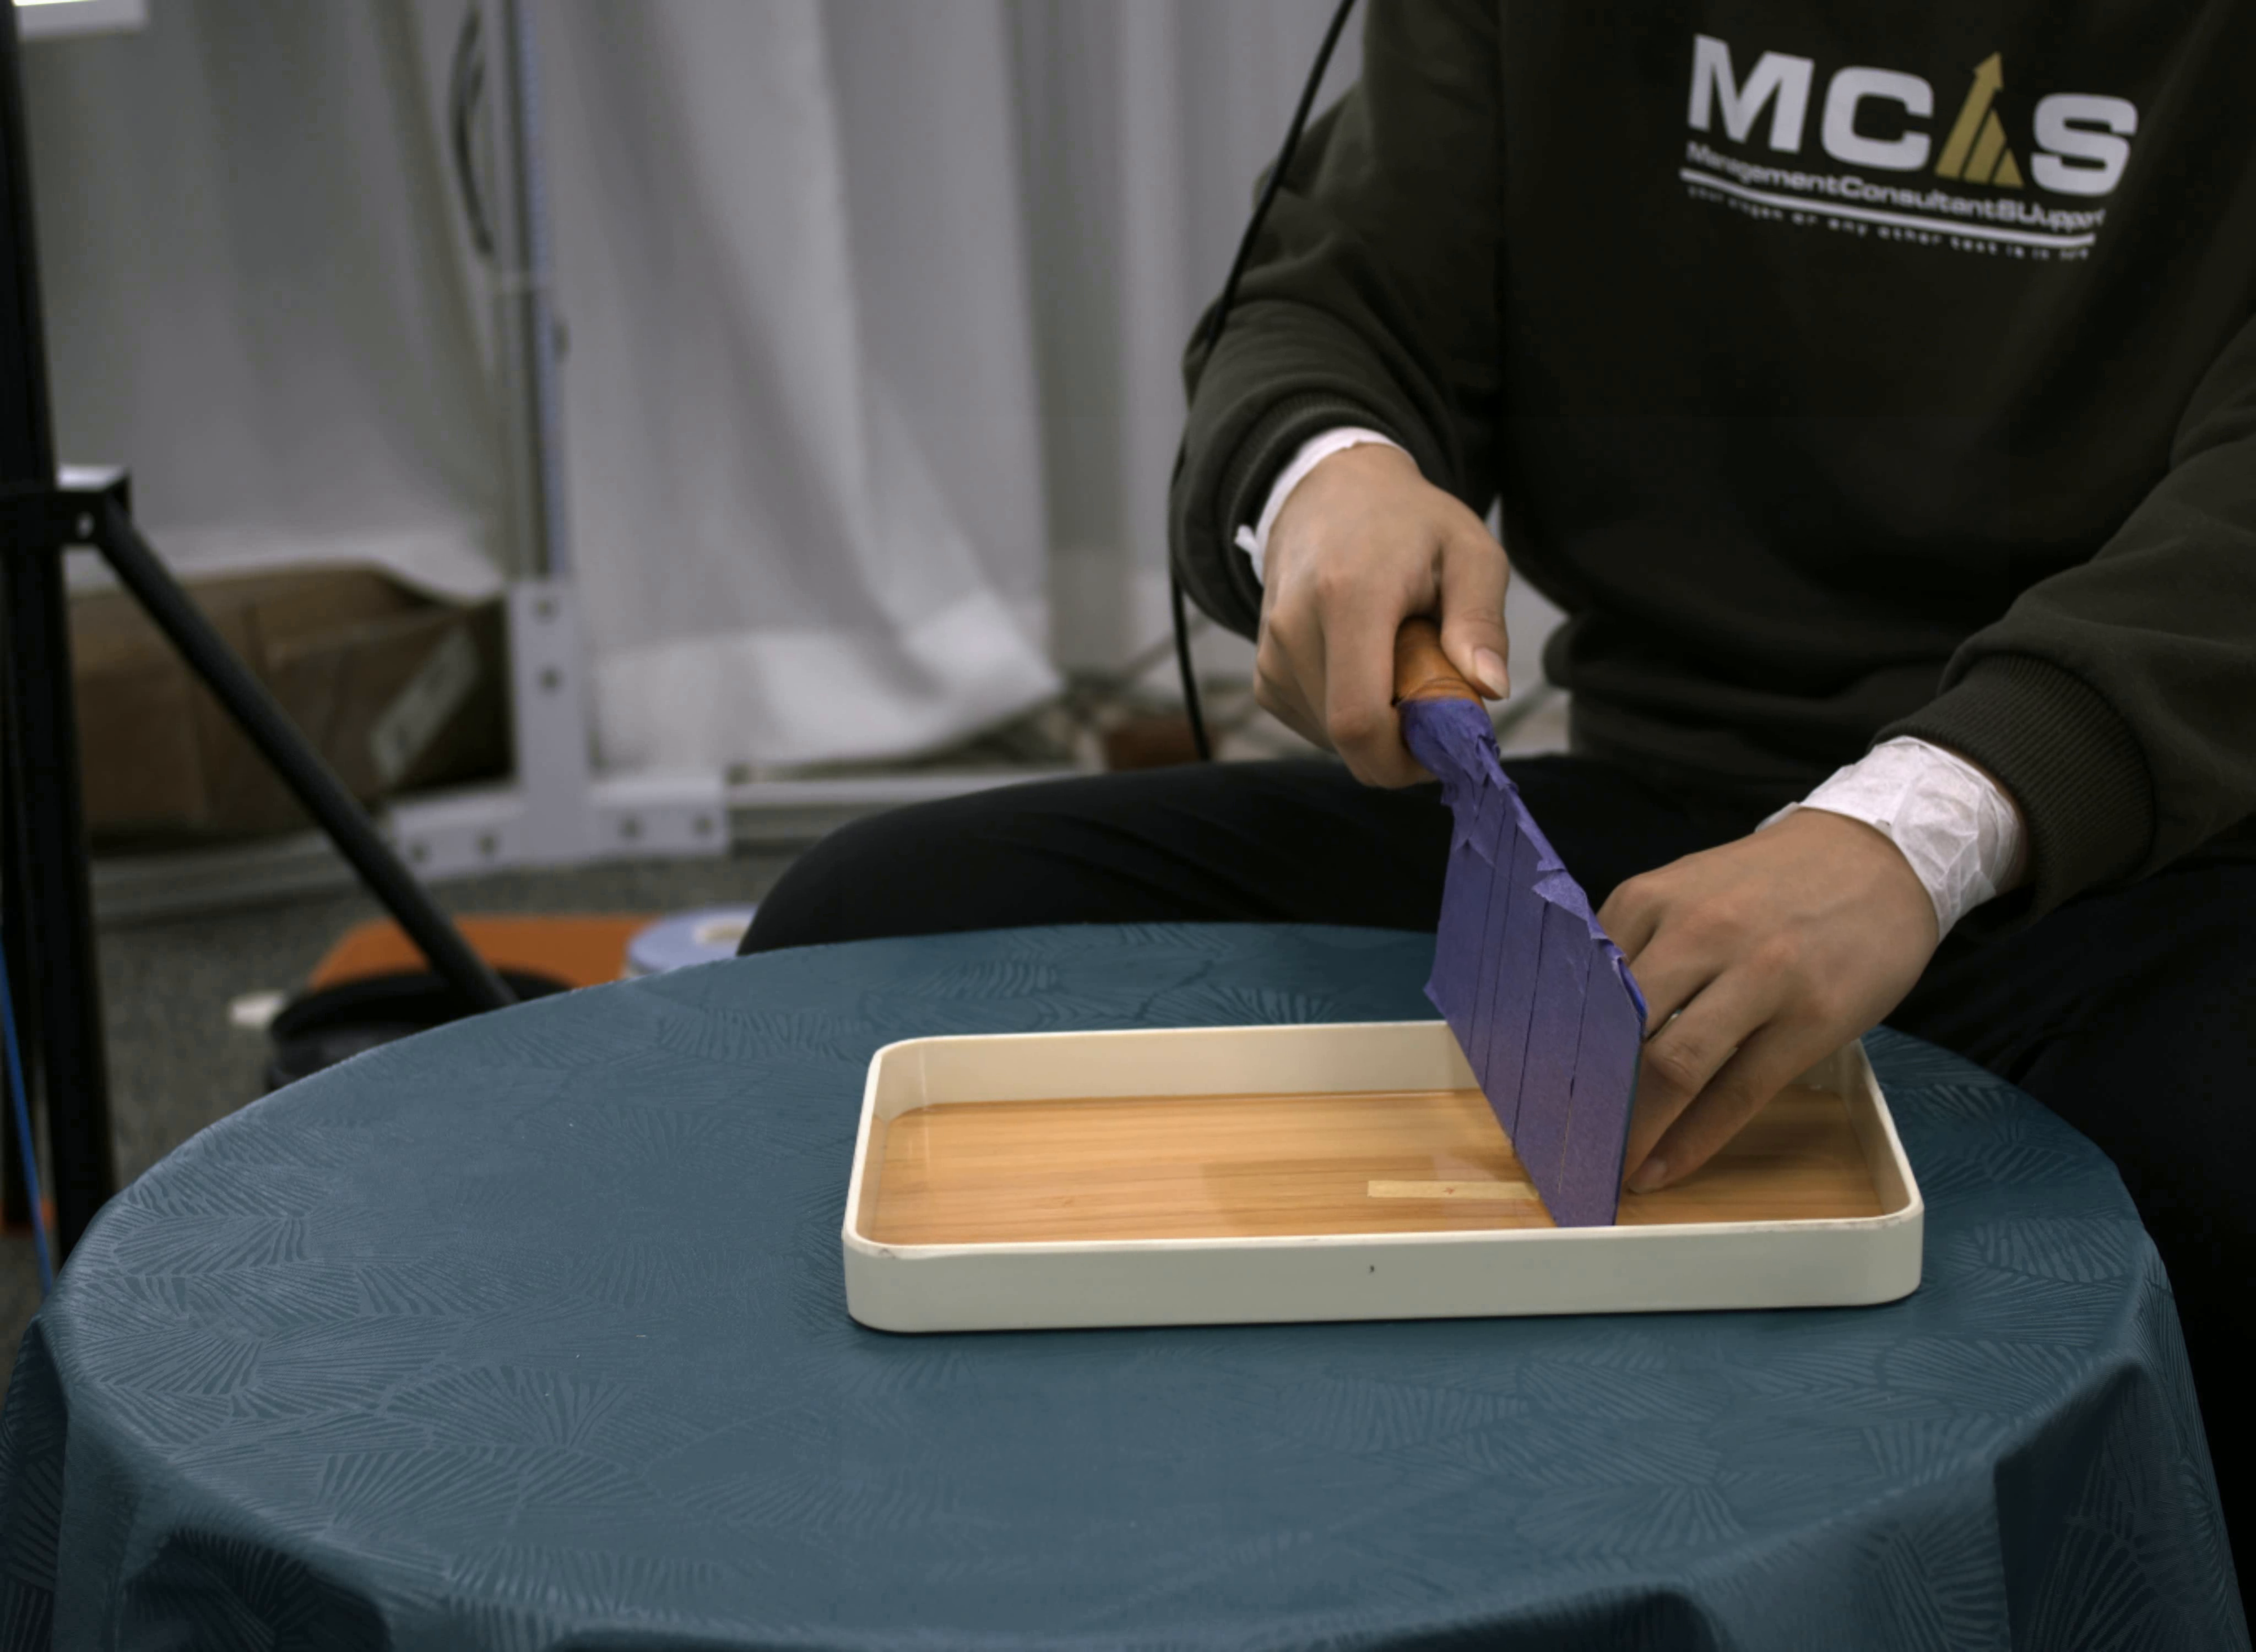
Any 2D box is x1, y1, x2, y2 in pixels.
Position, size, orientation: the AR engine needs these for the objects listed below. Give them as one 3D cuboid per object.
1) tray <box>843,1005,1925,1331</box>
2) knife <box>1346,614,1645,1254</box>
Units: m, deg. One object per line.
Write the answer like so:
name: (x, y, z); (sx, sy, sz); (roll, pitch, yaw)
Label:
tray: (0.071, 0.098, 1.536); (0.299, 0.027, 0.192); (-2, 16, 3)
knife: (0.103, 0.028, 1.576); (0.032, 0.104, 0.319); (5, 20, -10)
